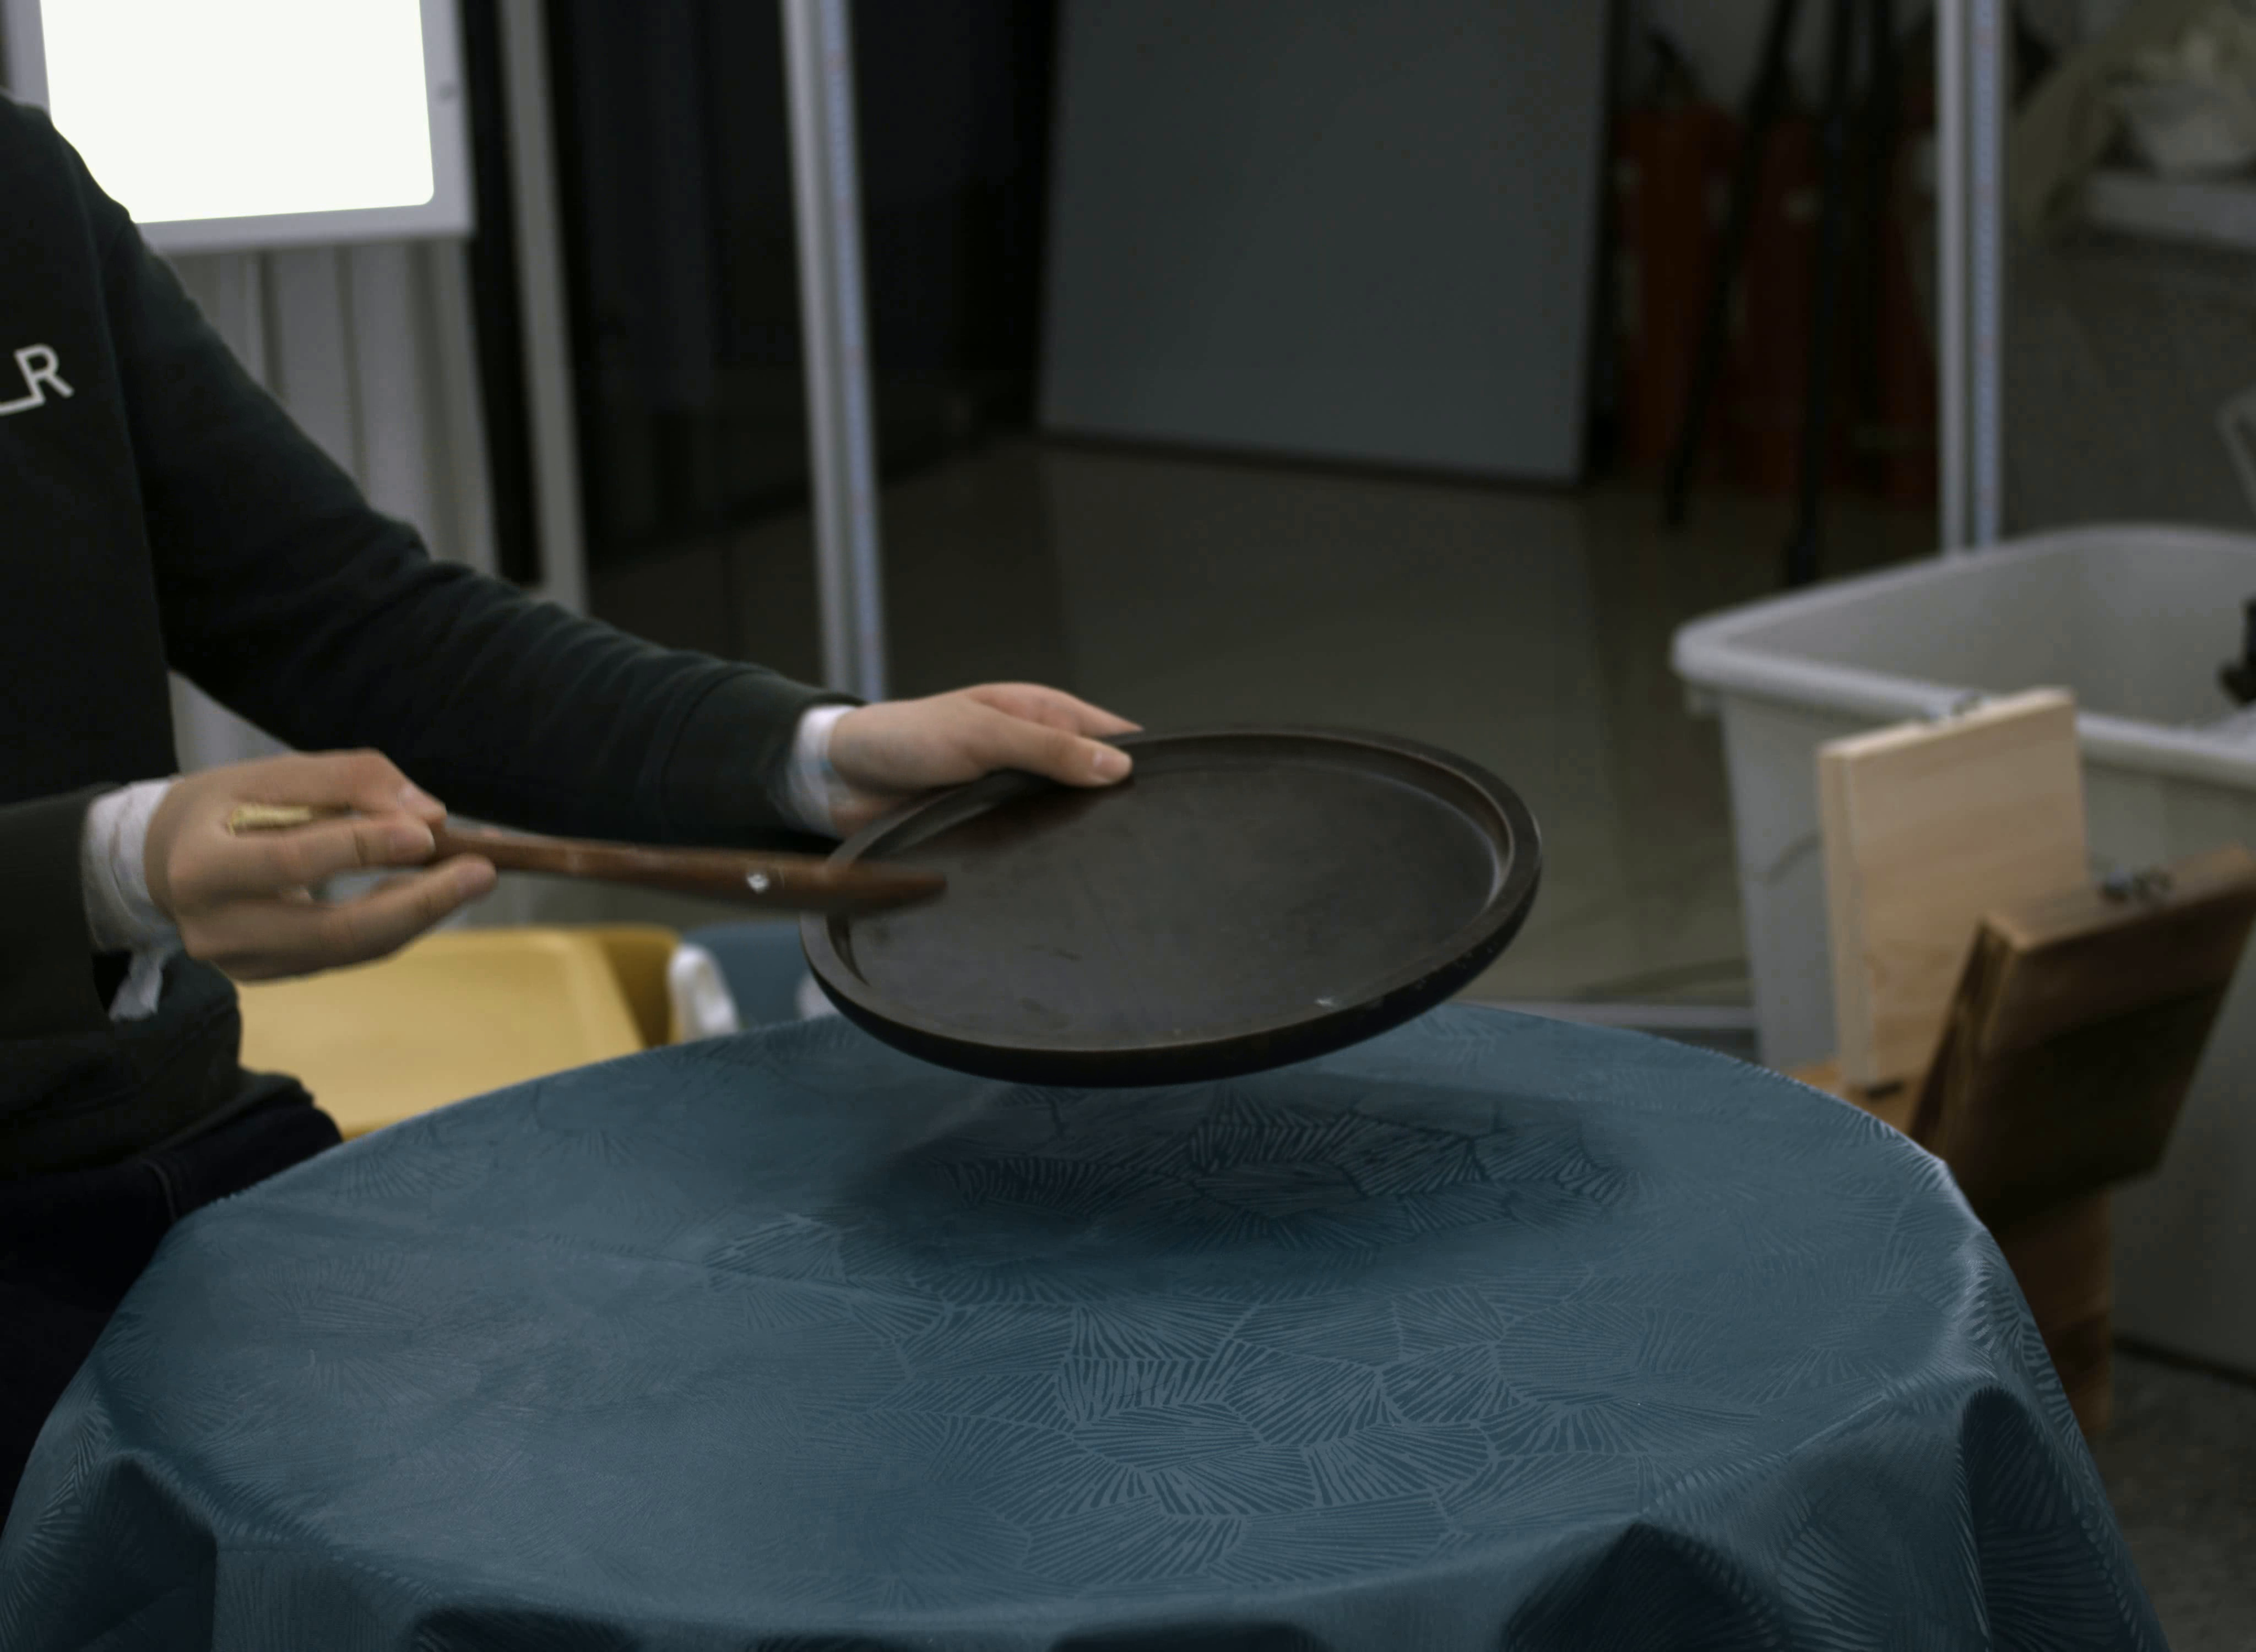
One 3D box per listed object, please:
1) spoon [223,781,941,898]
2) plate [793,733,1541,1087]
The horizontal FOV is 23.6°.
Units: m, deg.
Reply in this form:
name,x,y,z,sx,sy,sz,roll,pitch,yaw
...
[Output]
name,x,y,z,sx,sy,sz,roll,pitch,yaw
spoon,-0.162,0.005,1.604,0.213,0.017,0.075,6,-3,4
plate,0.014,0.025,1.808,0.252,0.029,0.256,-6,24,2
